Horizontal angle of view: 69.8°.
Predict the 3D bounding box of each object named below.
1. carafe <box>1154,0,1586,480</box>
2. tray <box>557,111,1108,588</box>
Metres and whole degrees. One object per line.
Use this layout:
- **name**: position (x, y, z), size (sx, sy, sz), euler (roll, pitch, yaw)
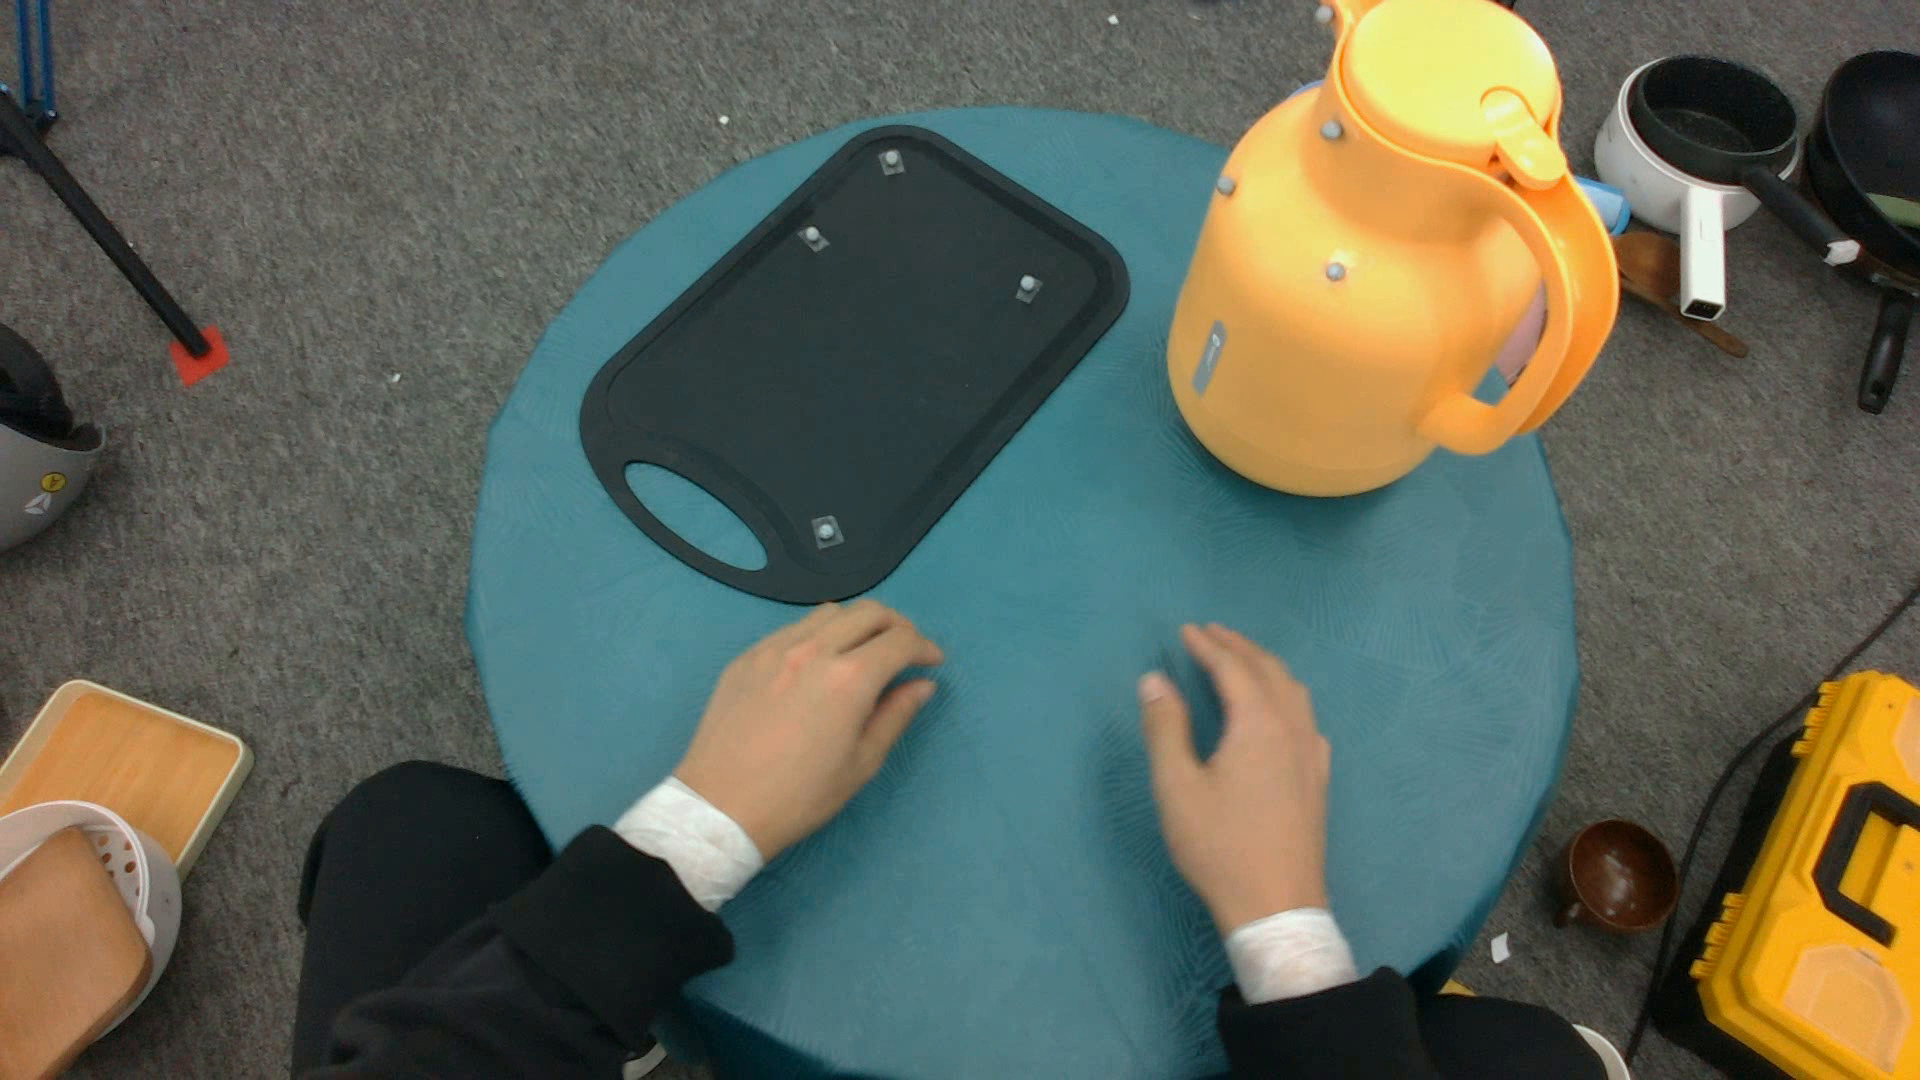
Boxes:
- **carafe**: position (0.200, -0.135, 0.680), size (0.164, 0.259, 0.203), euler (-24, 66, -12)
- **tray**: position (-0.072, -0.118, 0.795), size (0.211, 0.010, 0.326), euler (35, 66, 14)
